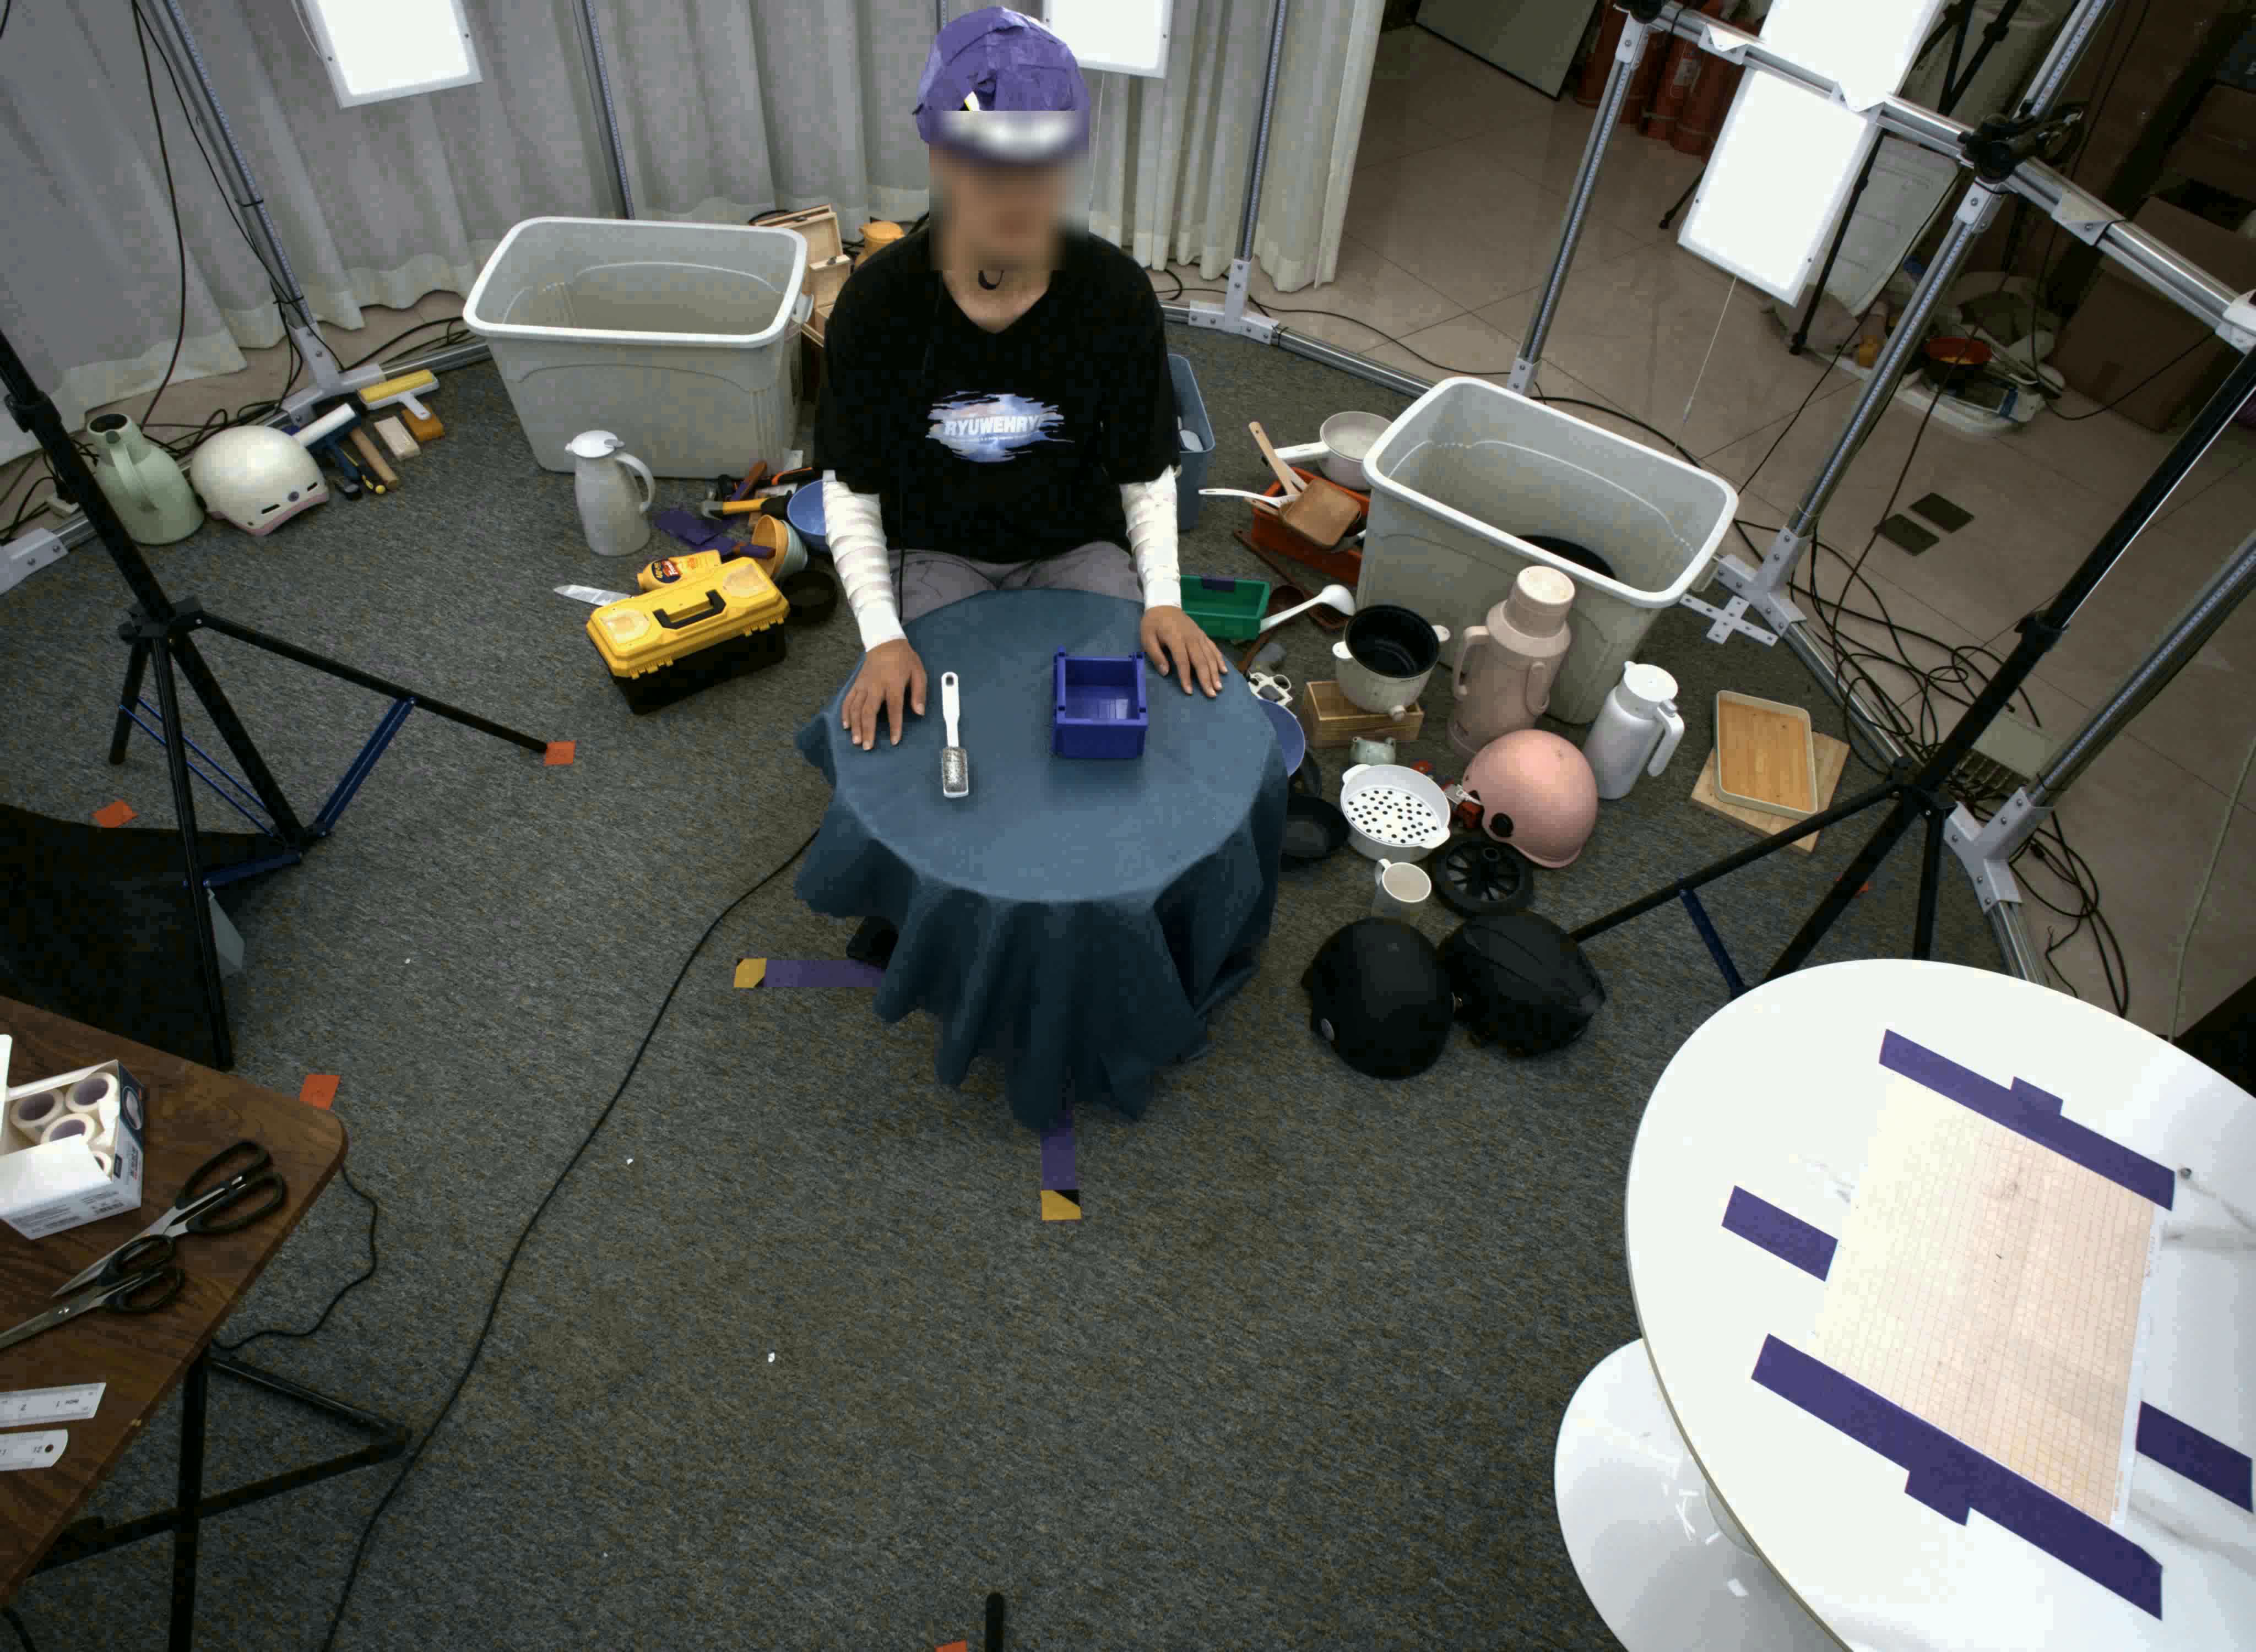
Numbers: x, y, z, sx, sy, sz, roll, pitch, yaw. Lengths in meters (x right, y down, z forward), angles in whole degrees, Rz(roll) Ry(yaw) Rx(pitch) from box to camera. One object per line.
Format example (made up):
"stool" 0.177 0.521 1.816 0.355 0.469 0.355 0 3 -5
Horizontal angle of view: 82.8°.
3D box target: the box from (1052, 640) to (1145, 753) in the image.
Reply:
"box" -0.041 -0.186 1.779 0.124 0.080 0.184 2 51 -2

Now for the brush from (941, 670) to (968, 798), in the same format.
"brush" -0.235 -0.138 1.746 0.034 0.049 0.250 -2 50 -5
